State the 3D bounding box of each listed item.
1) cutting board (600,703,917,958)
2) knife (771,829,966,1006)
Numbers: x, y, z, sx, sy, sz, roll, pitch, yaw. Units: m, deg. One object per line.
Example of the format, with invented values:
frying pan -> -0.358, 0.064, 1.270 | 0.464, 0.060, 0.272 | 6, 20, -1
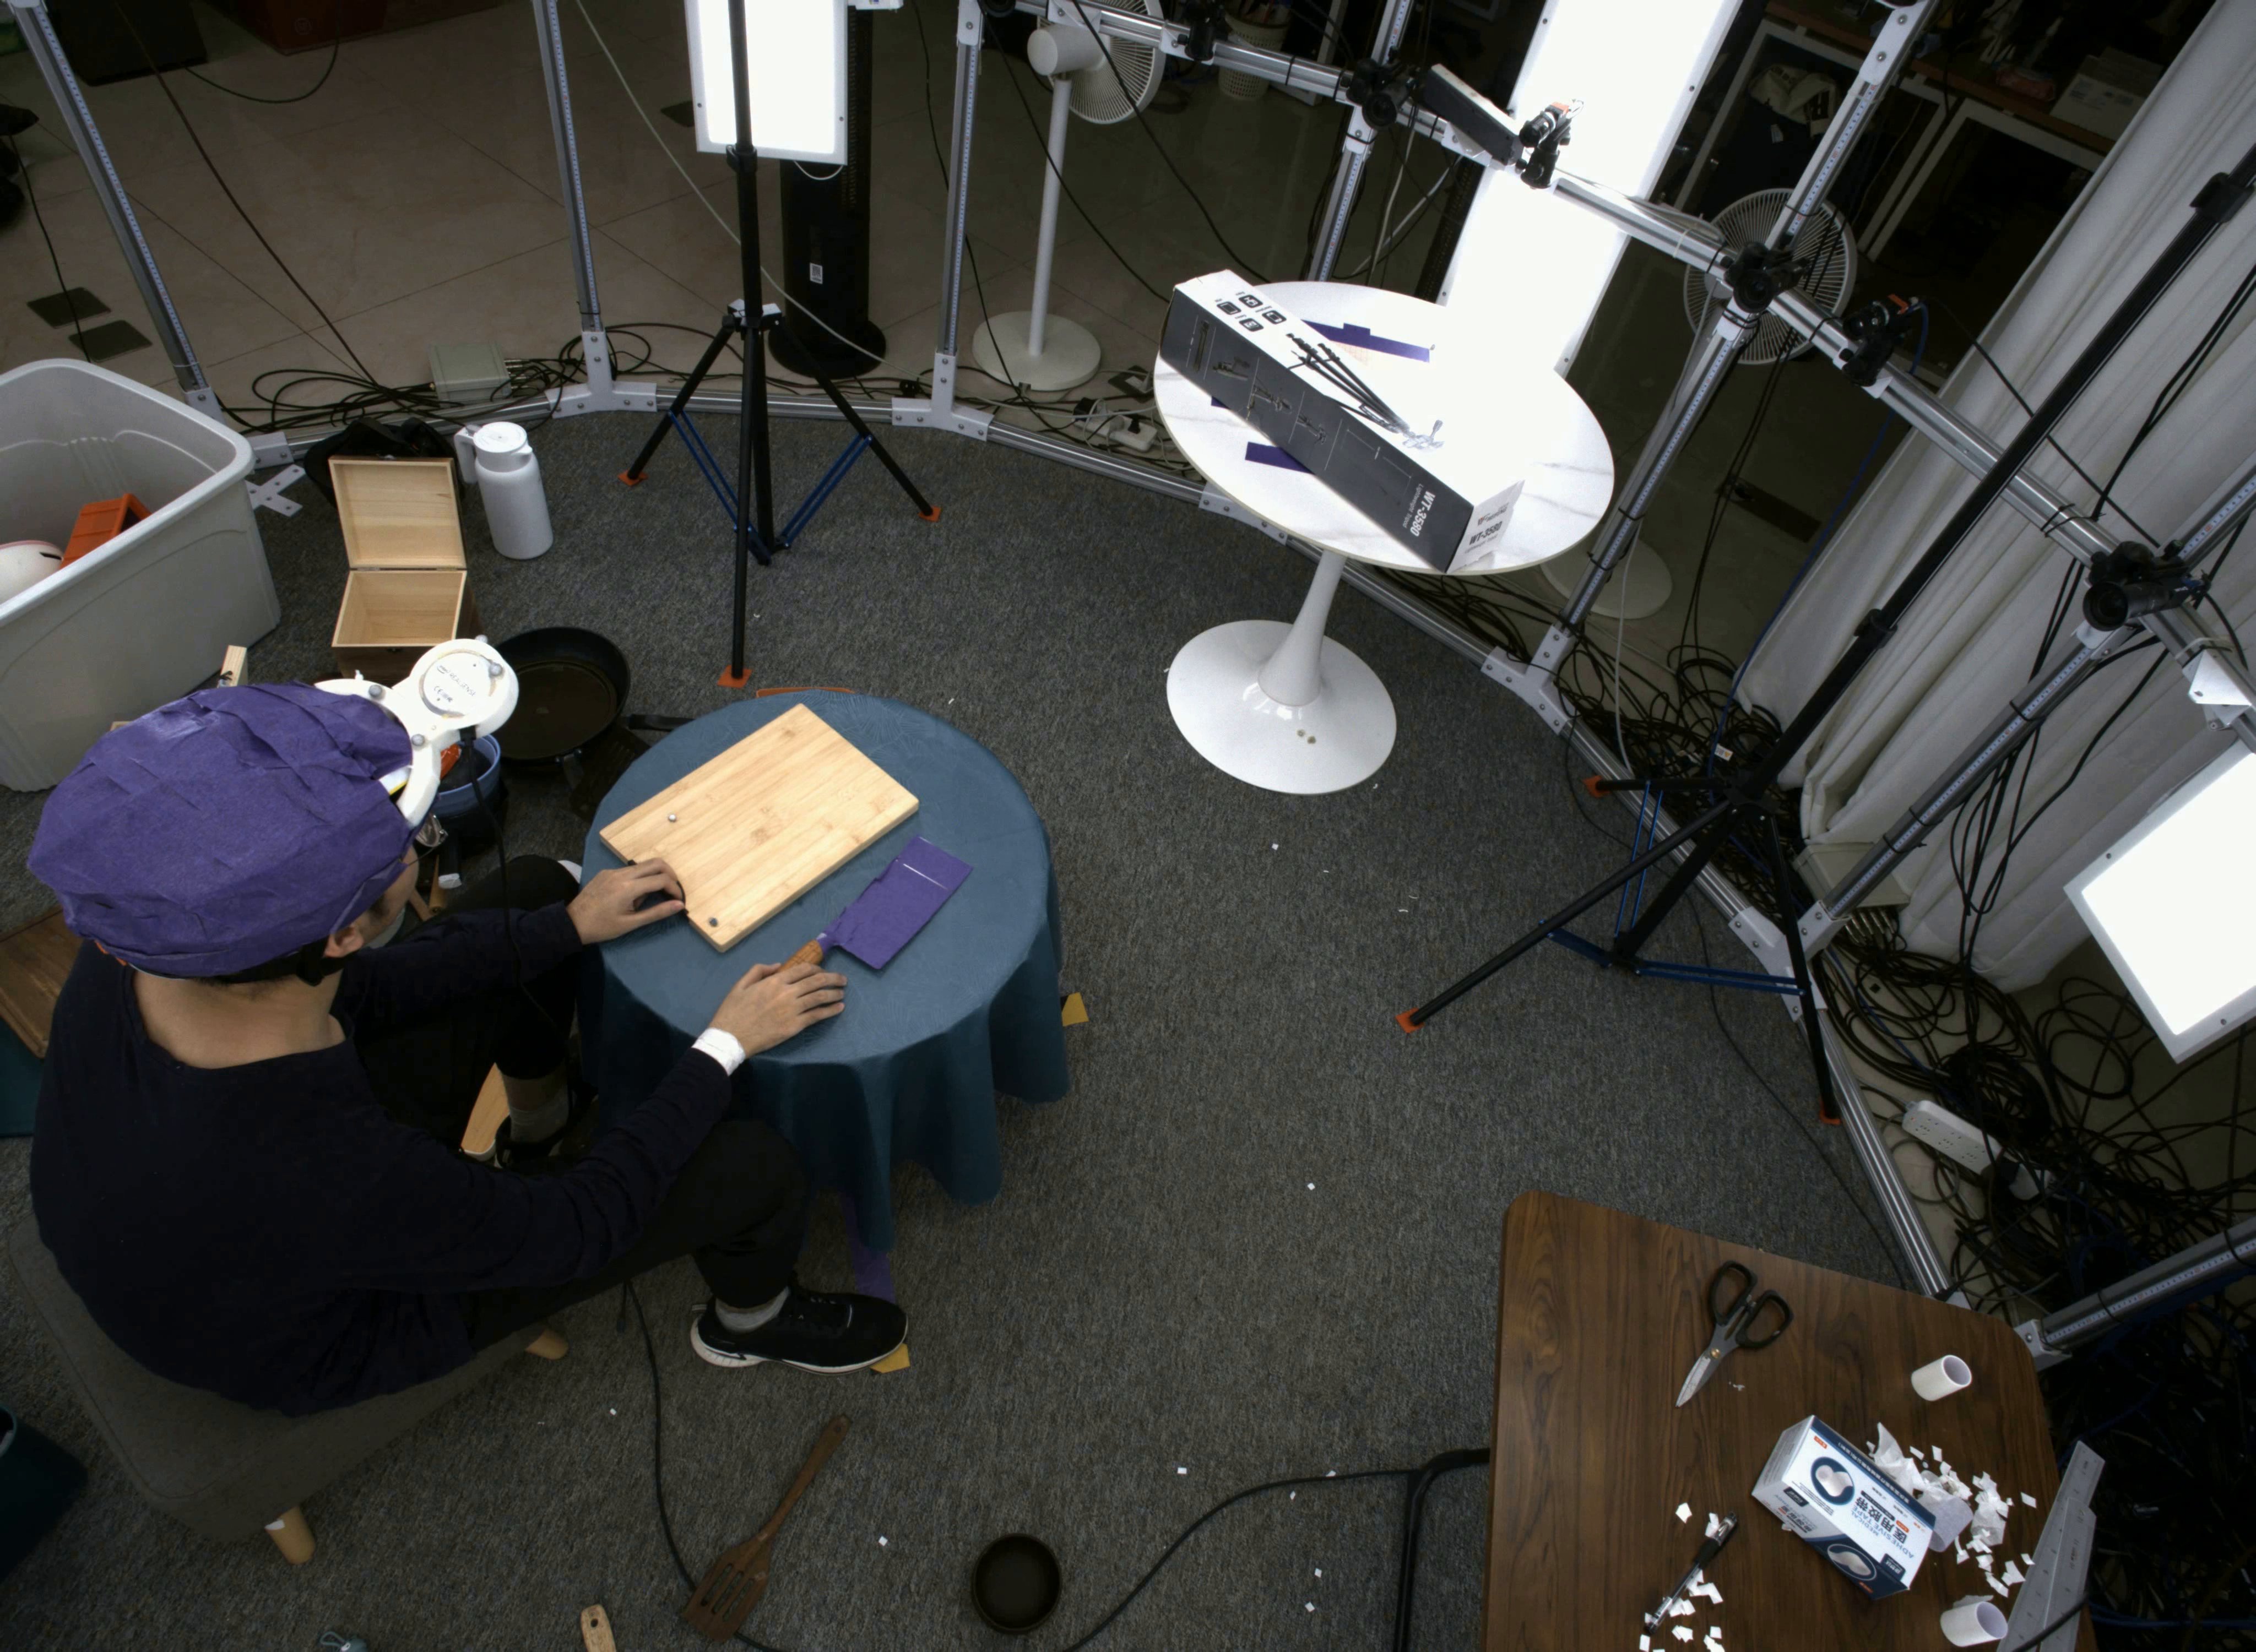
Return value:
cutting board -> -0.484, -0.006, 1.713 | 0.245, 0.024, 0.349 | 38, 55, 15
knife -> -0.320, 0.121, 1.654 | 0.102, 0.033, 0.314 | 30, 52, 9
